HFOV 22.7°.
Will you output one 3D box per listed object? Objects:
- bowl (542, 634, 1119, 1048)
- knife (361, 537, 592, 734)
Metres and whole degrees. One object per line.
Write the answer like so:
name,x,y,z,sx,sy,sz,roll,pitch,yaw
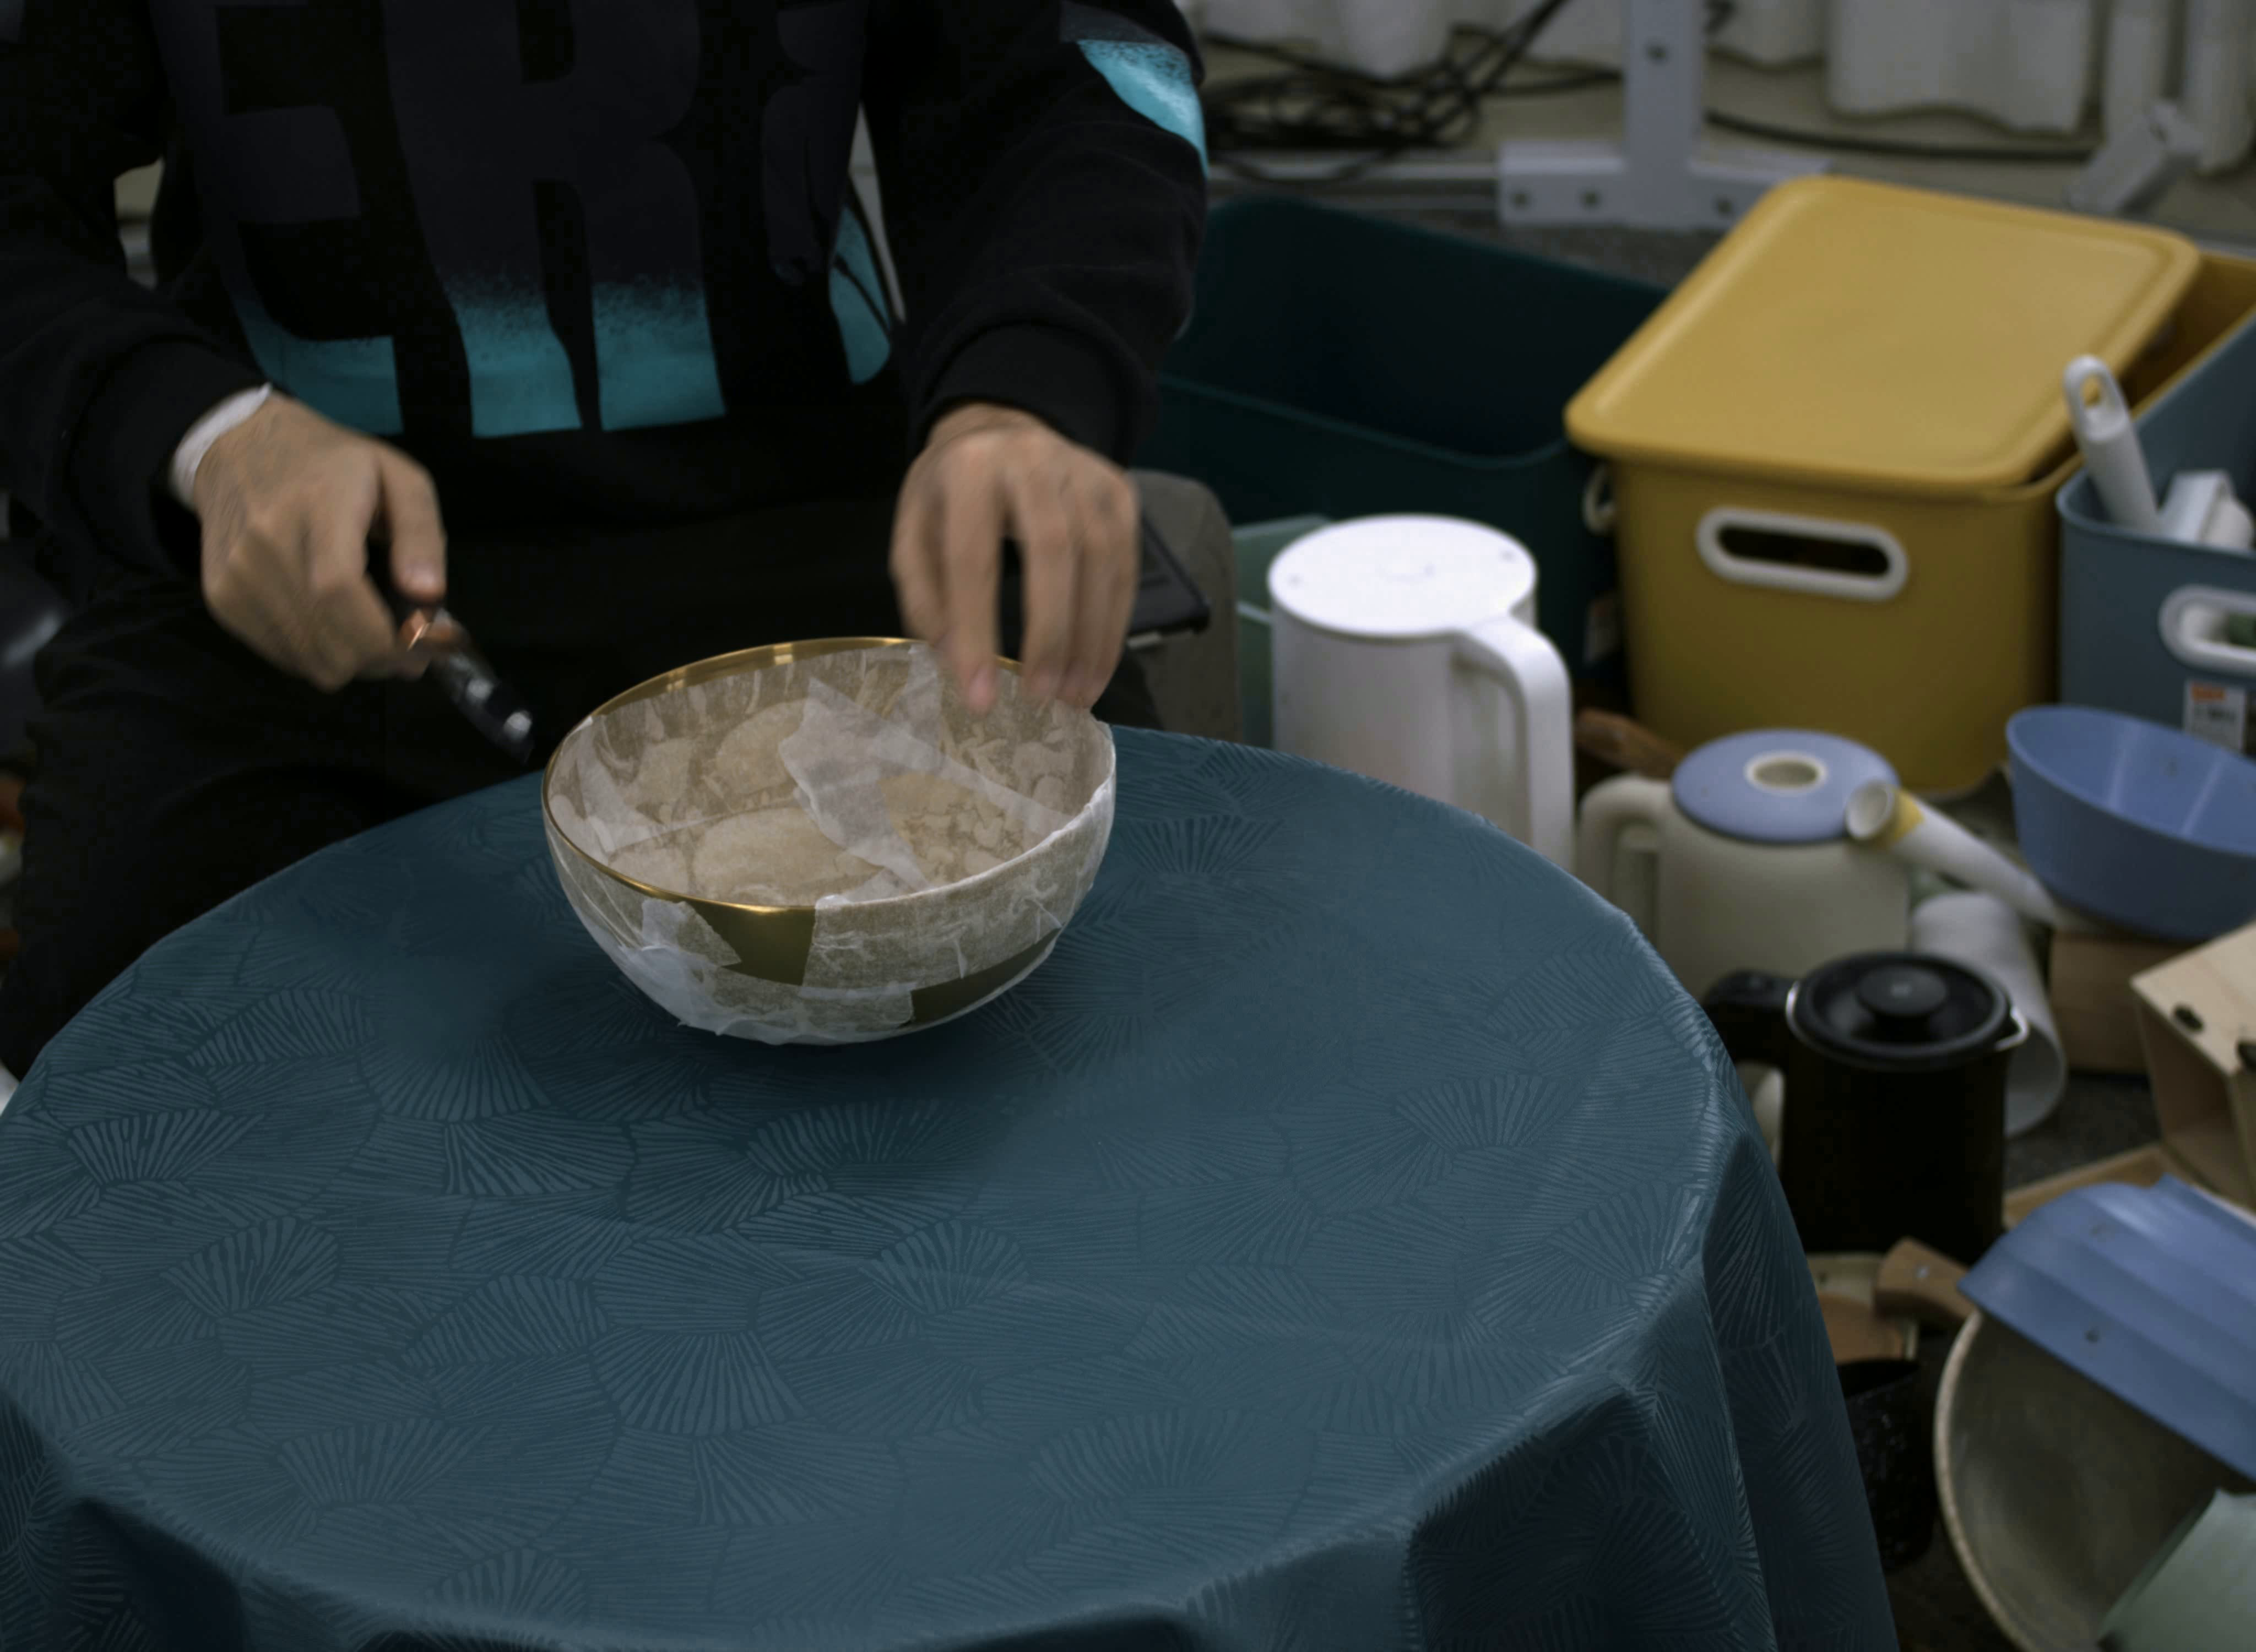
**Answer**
bowl,-0.103,0.016,1.974,0.213,0.093,0.218,-3,28,2
knife,-0.221,-0.064,1.894,0.026,0.017,0.226,10,13,-26
